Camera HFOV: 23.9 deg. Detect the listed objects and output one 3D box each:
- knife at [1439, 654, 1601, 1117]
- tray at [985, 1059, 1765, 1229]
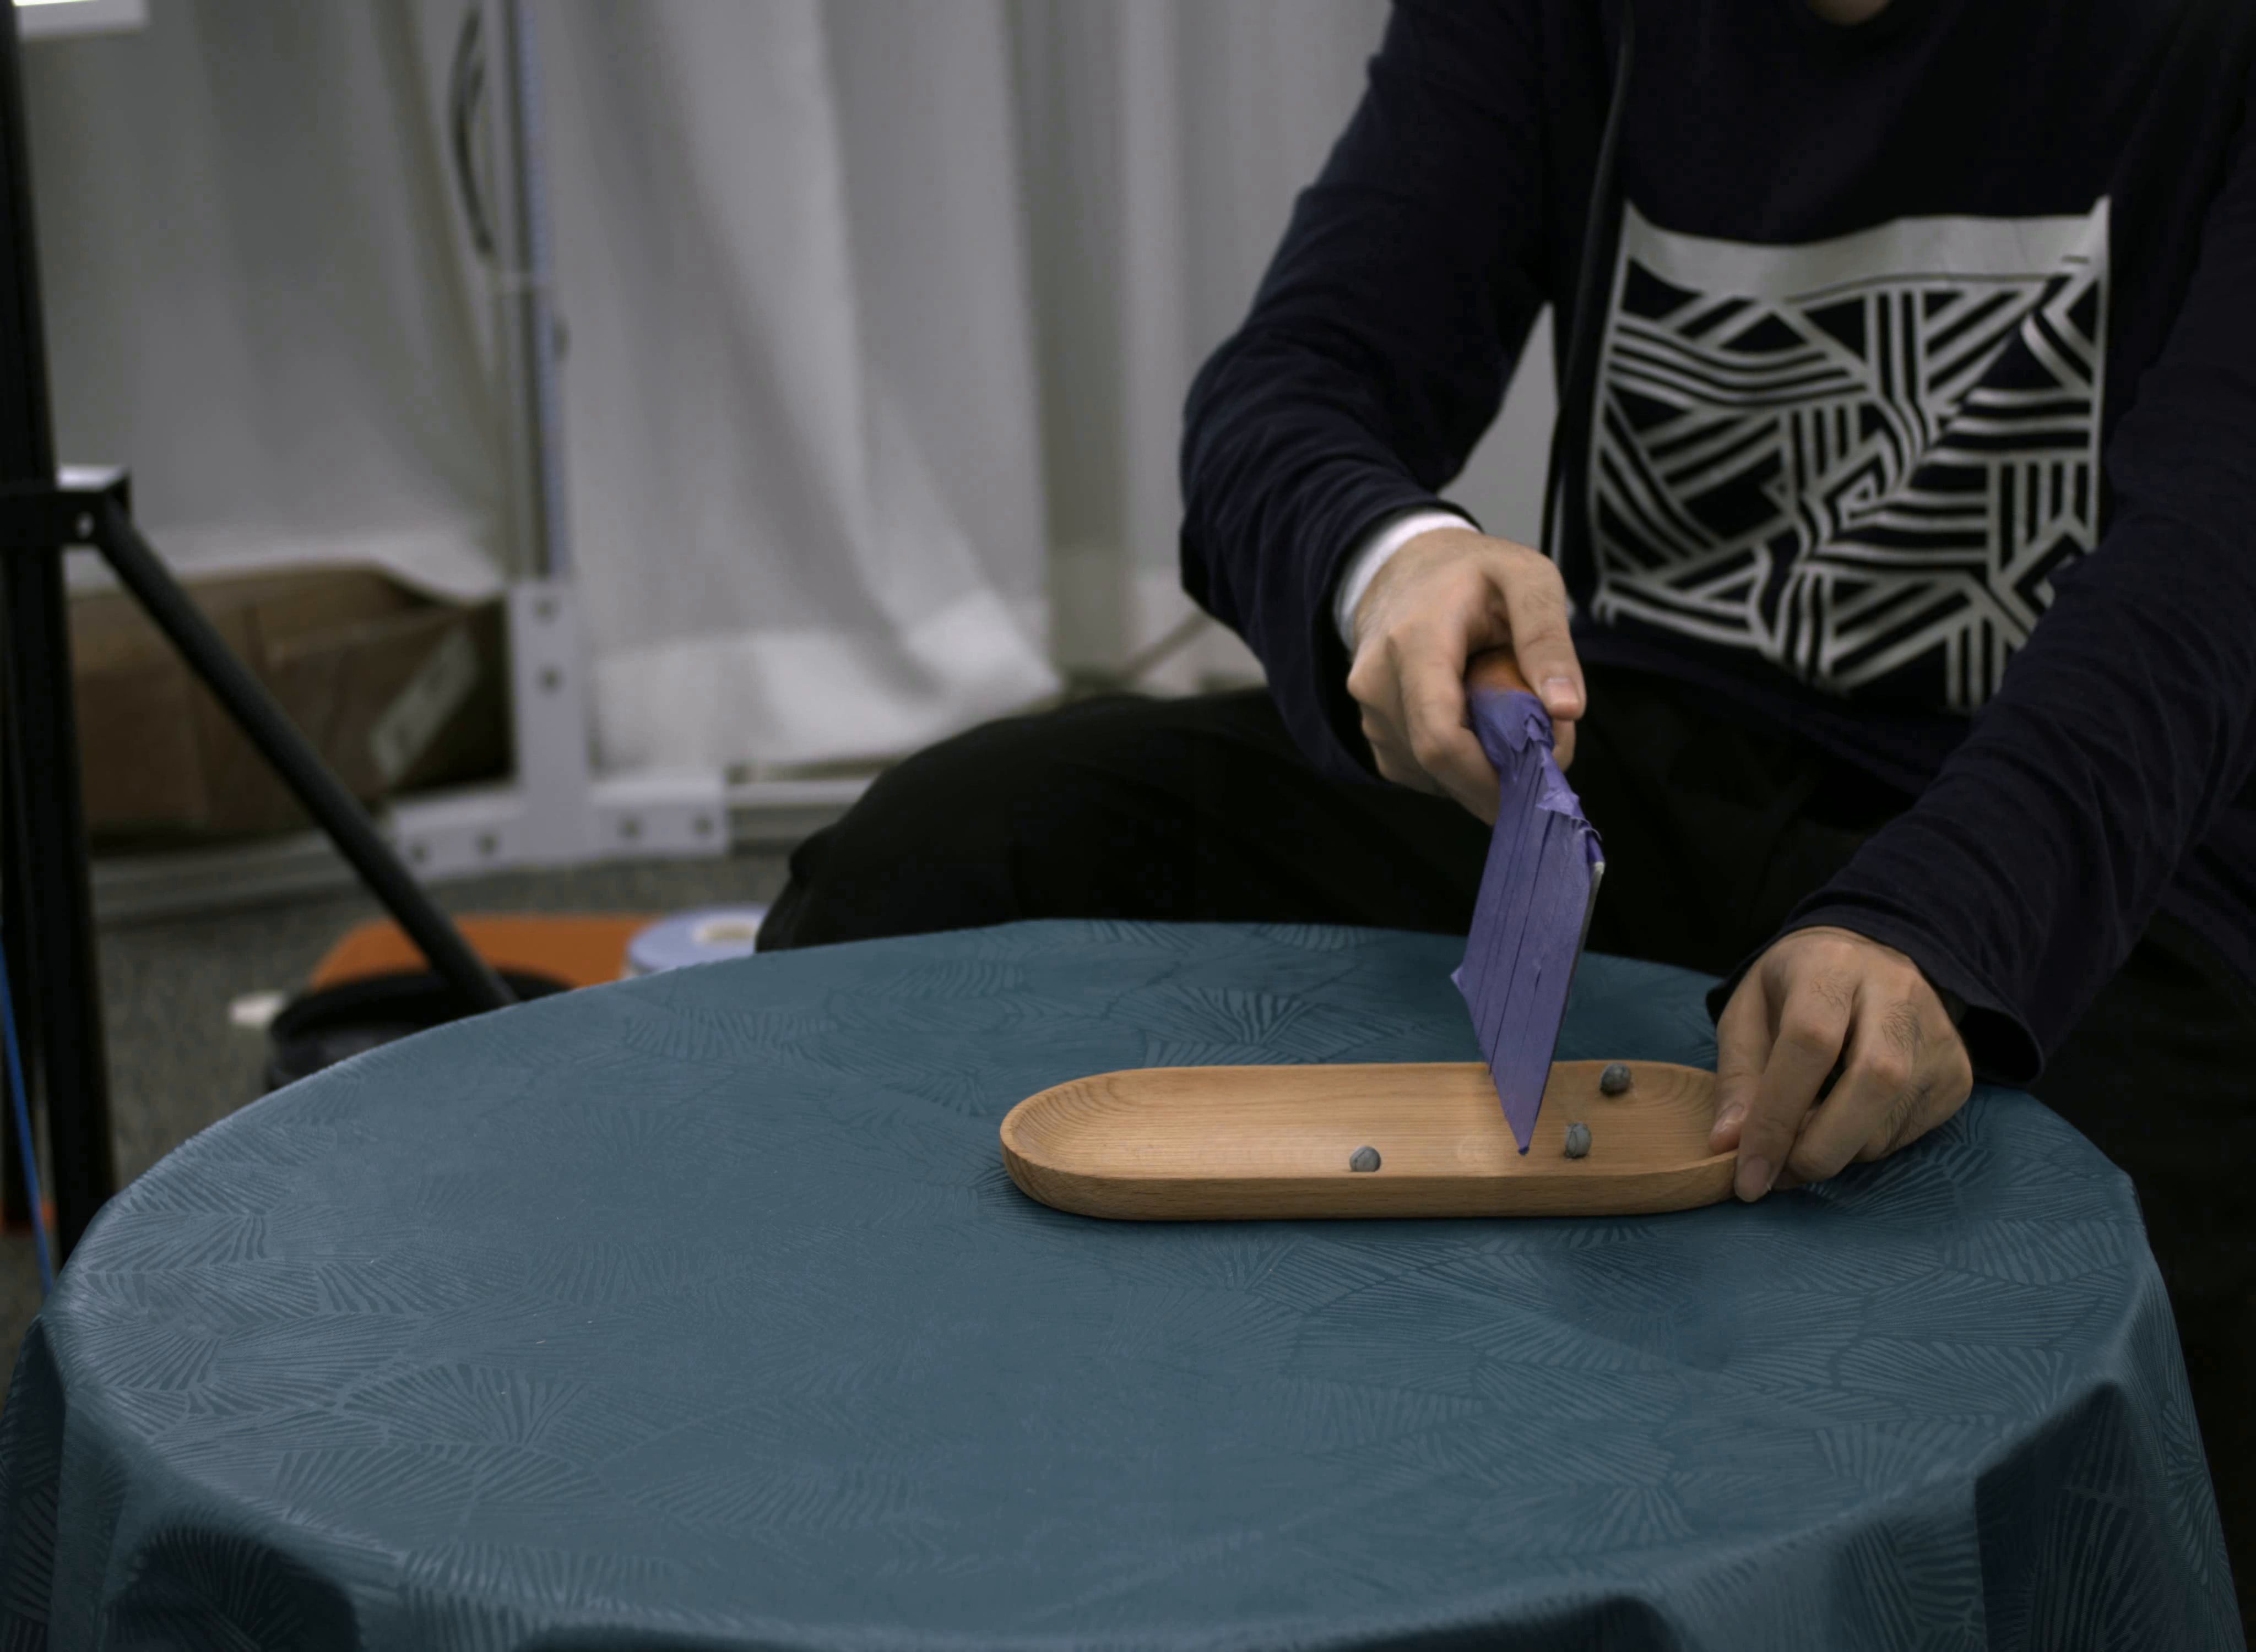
[{"bbox_3d":[0.111,0.015,1.605,0.032,0.104,0.316,14,11,-3],"label":"knife"},{"bbox_3d":[0.073,0.095,1.570,0.231,0.020,0.102,-4,14,5],"label":"tray"}]
